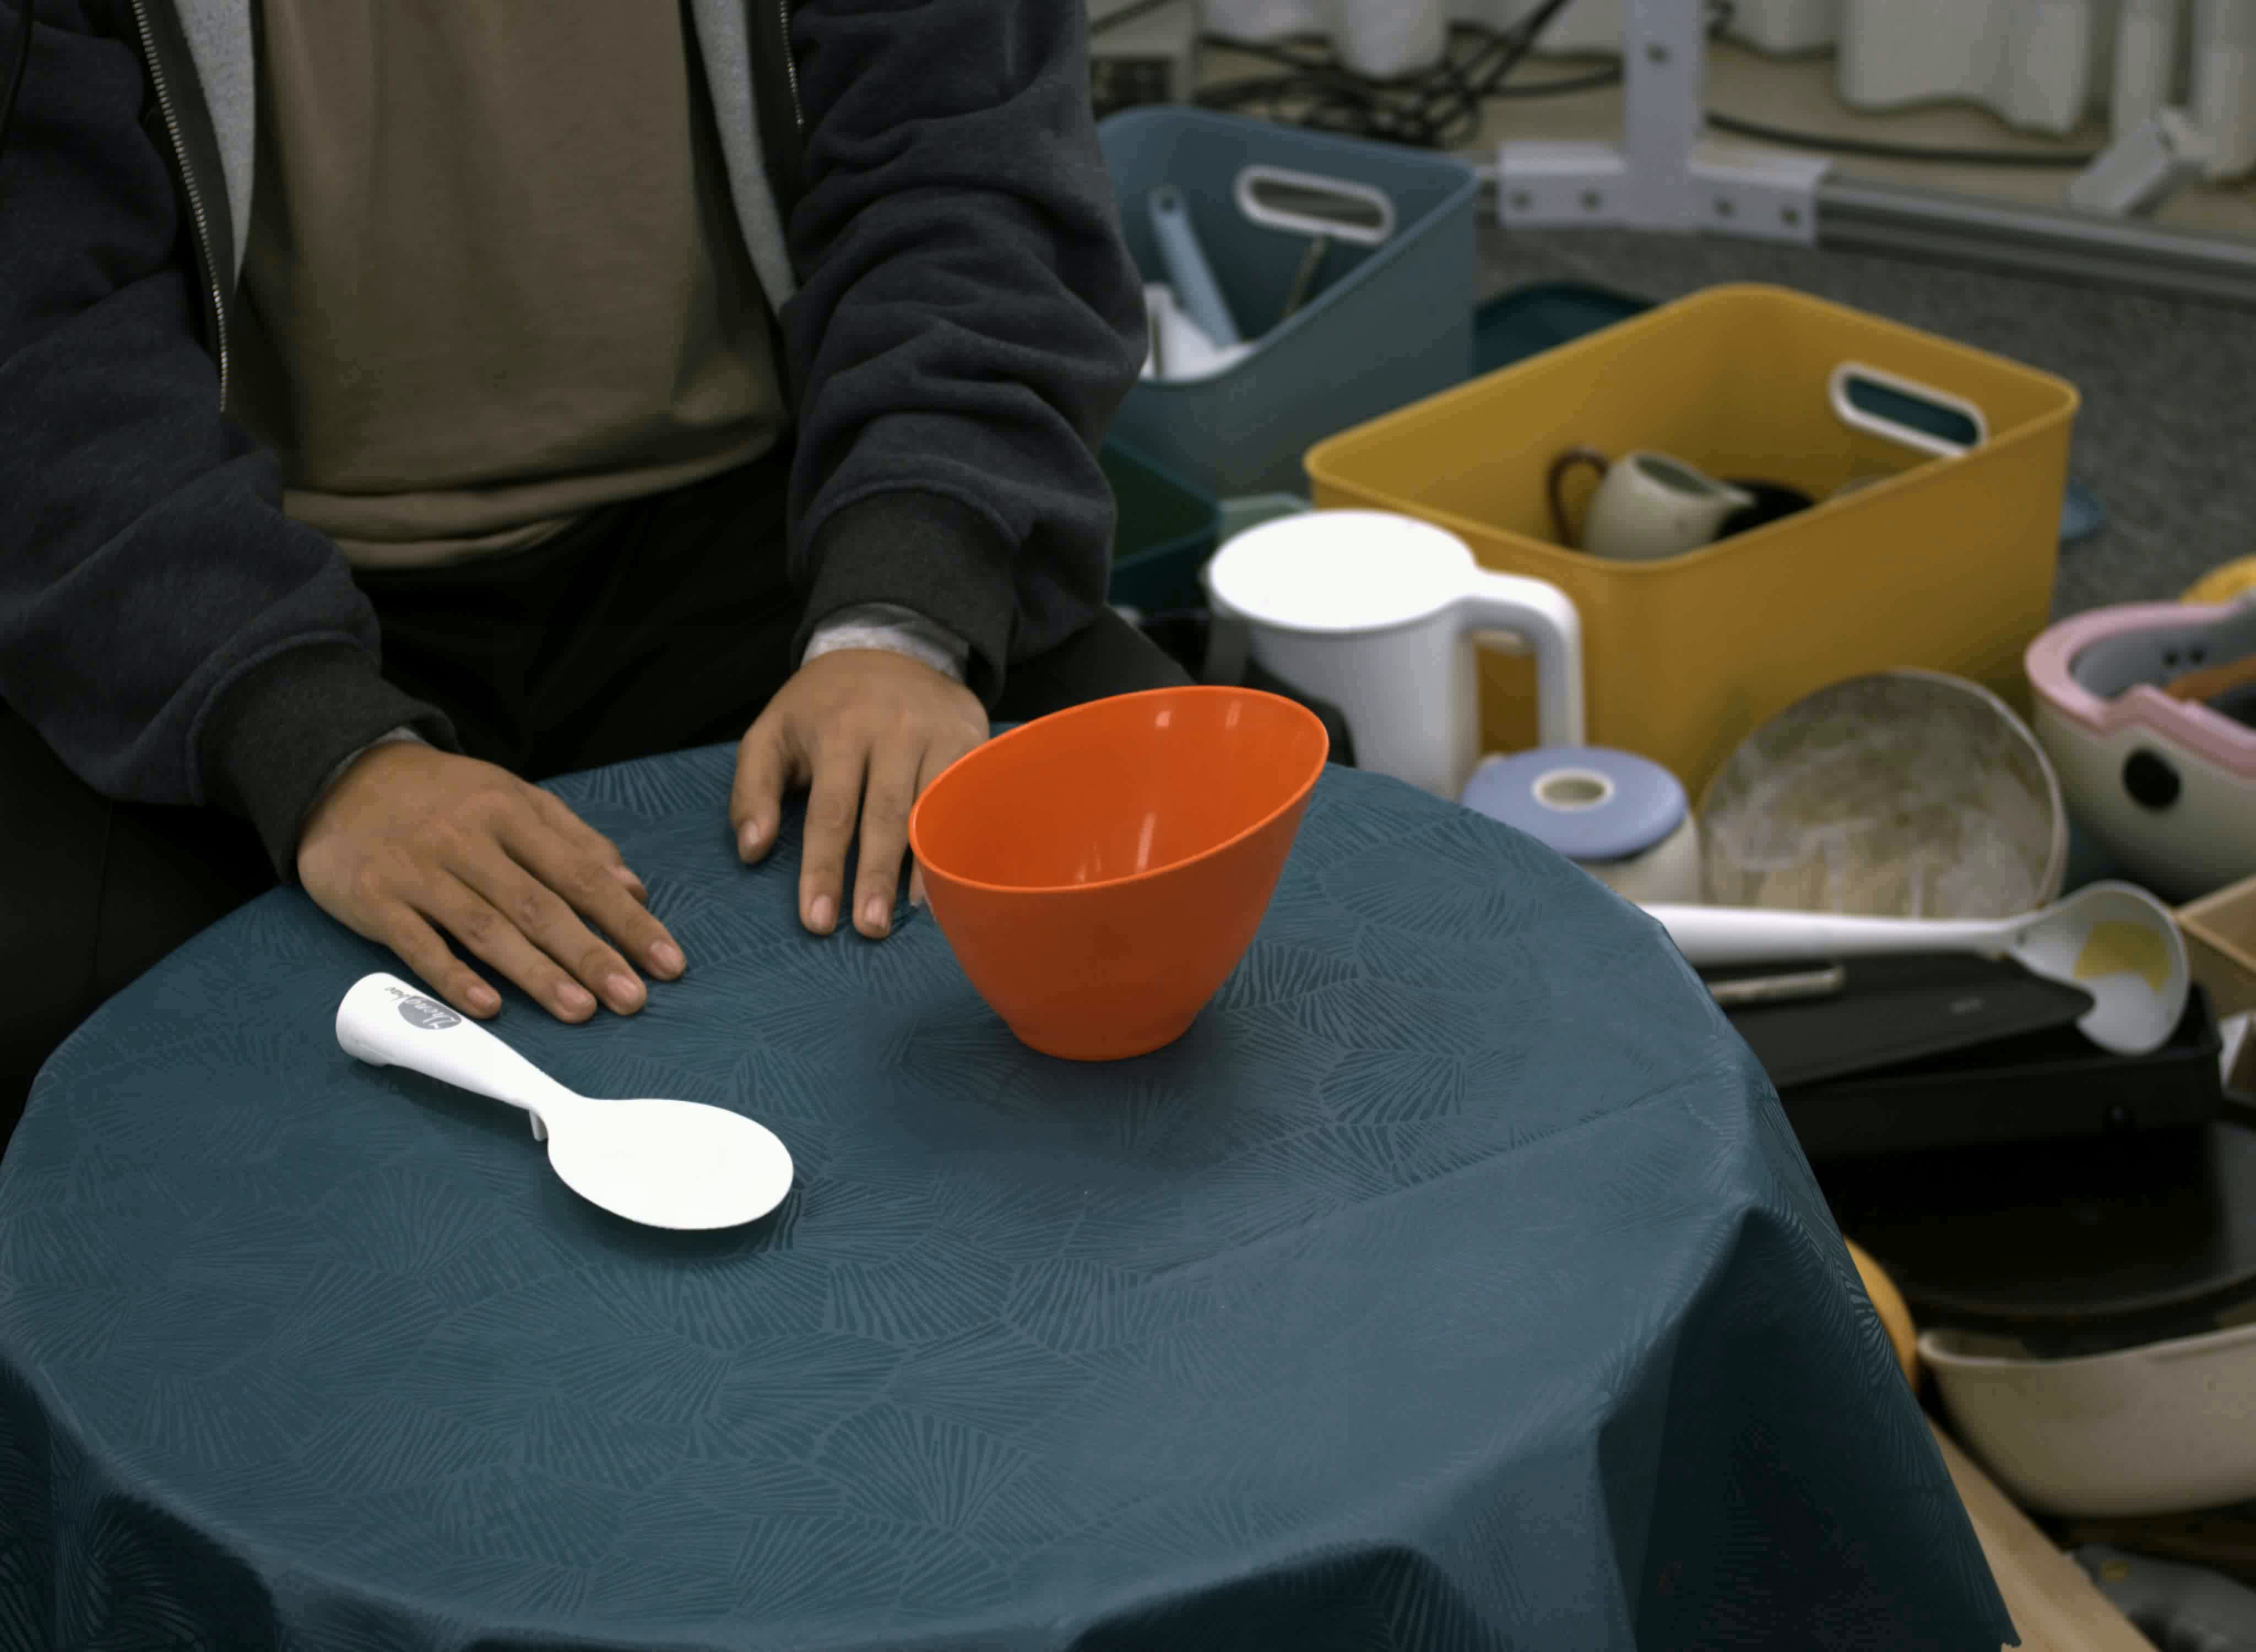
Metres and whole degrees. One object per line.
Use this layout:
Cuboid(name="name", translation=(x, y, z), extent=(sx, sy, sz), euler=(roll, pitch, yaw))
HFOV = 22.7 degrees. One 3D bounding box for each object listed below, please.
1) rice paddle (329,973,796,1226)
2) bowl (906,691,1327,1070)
Cuboid(name="rice paddle", translation=(-0.193, 0.094, 1.902), extent=(0.205, 0.029, 0.069), euler=(21, 37, 38))
Cuboid(name="bowl", translation=(-0.002, 0.024, 1.943), extent=(0.147, 0.103, 0.150), euler=(-4, 27, 2))
